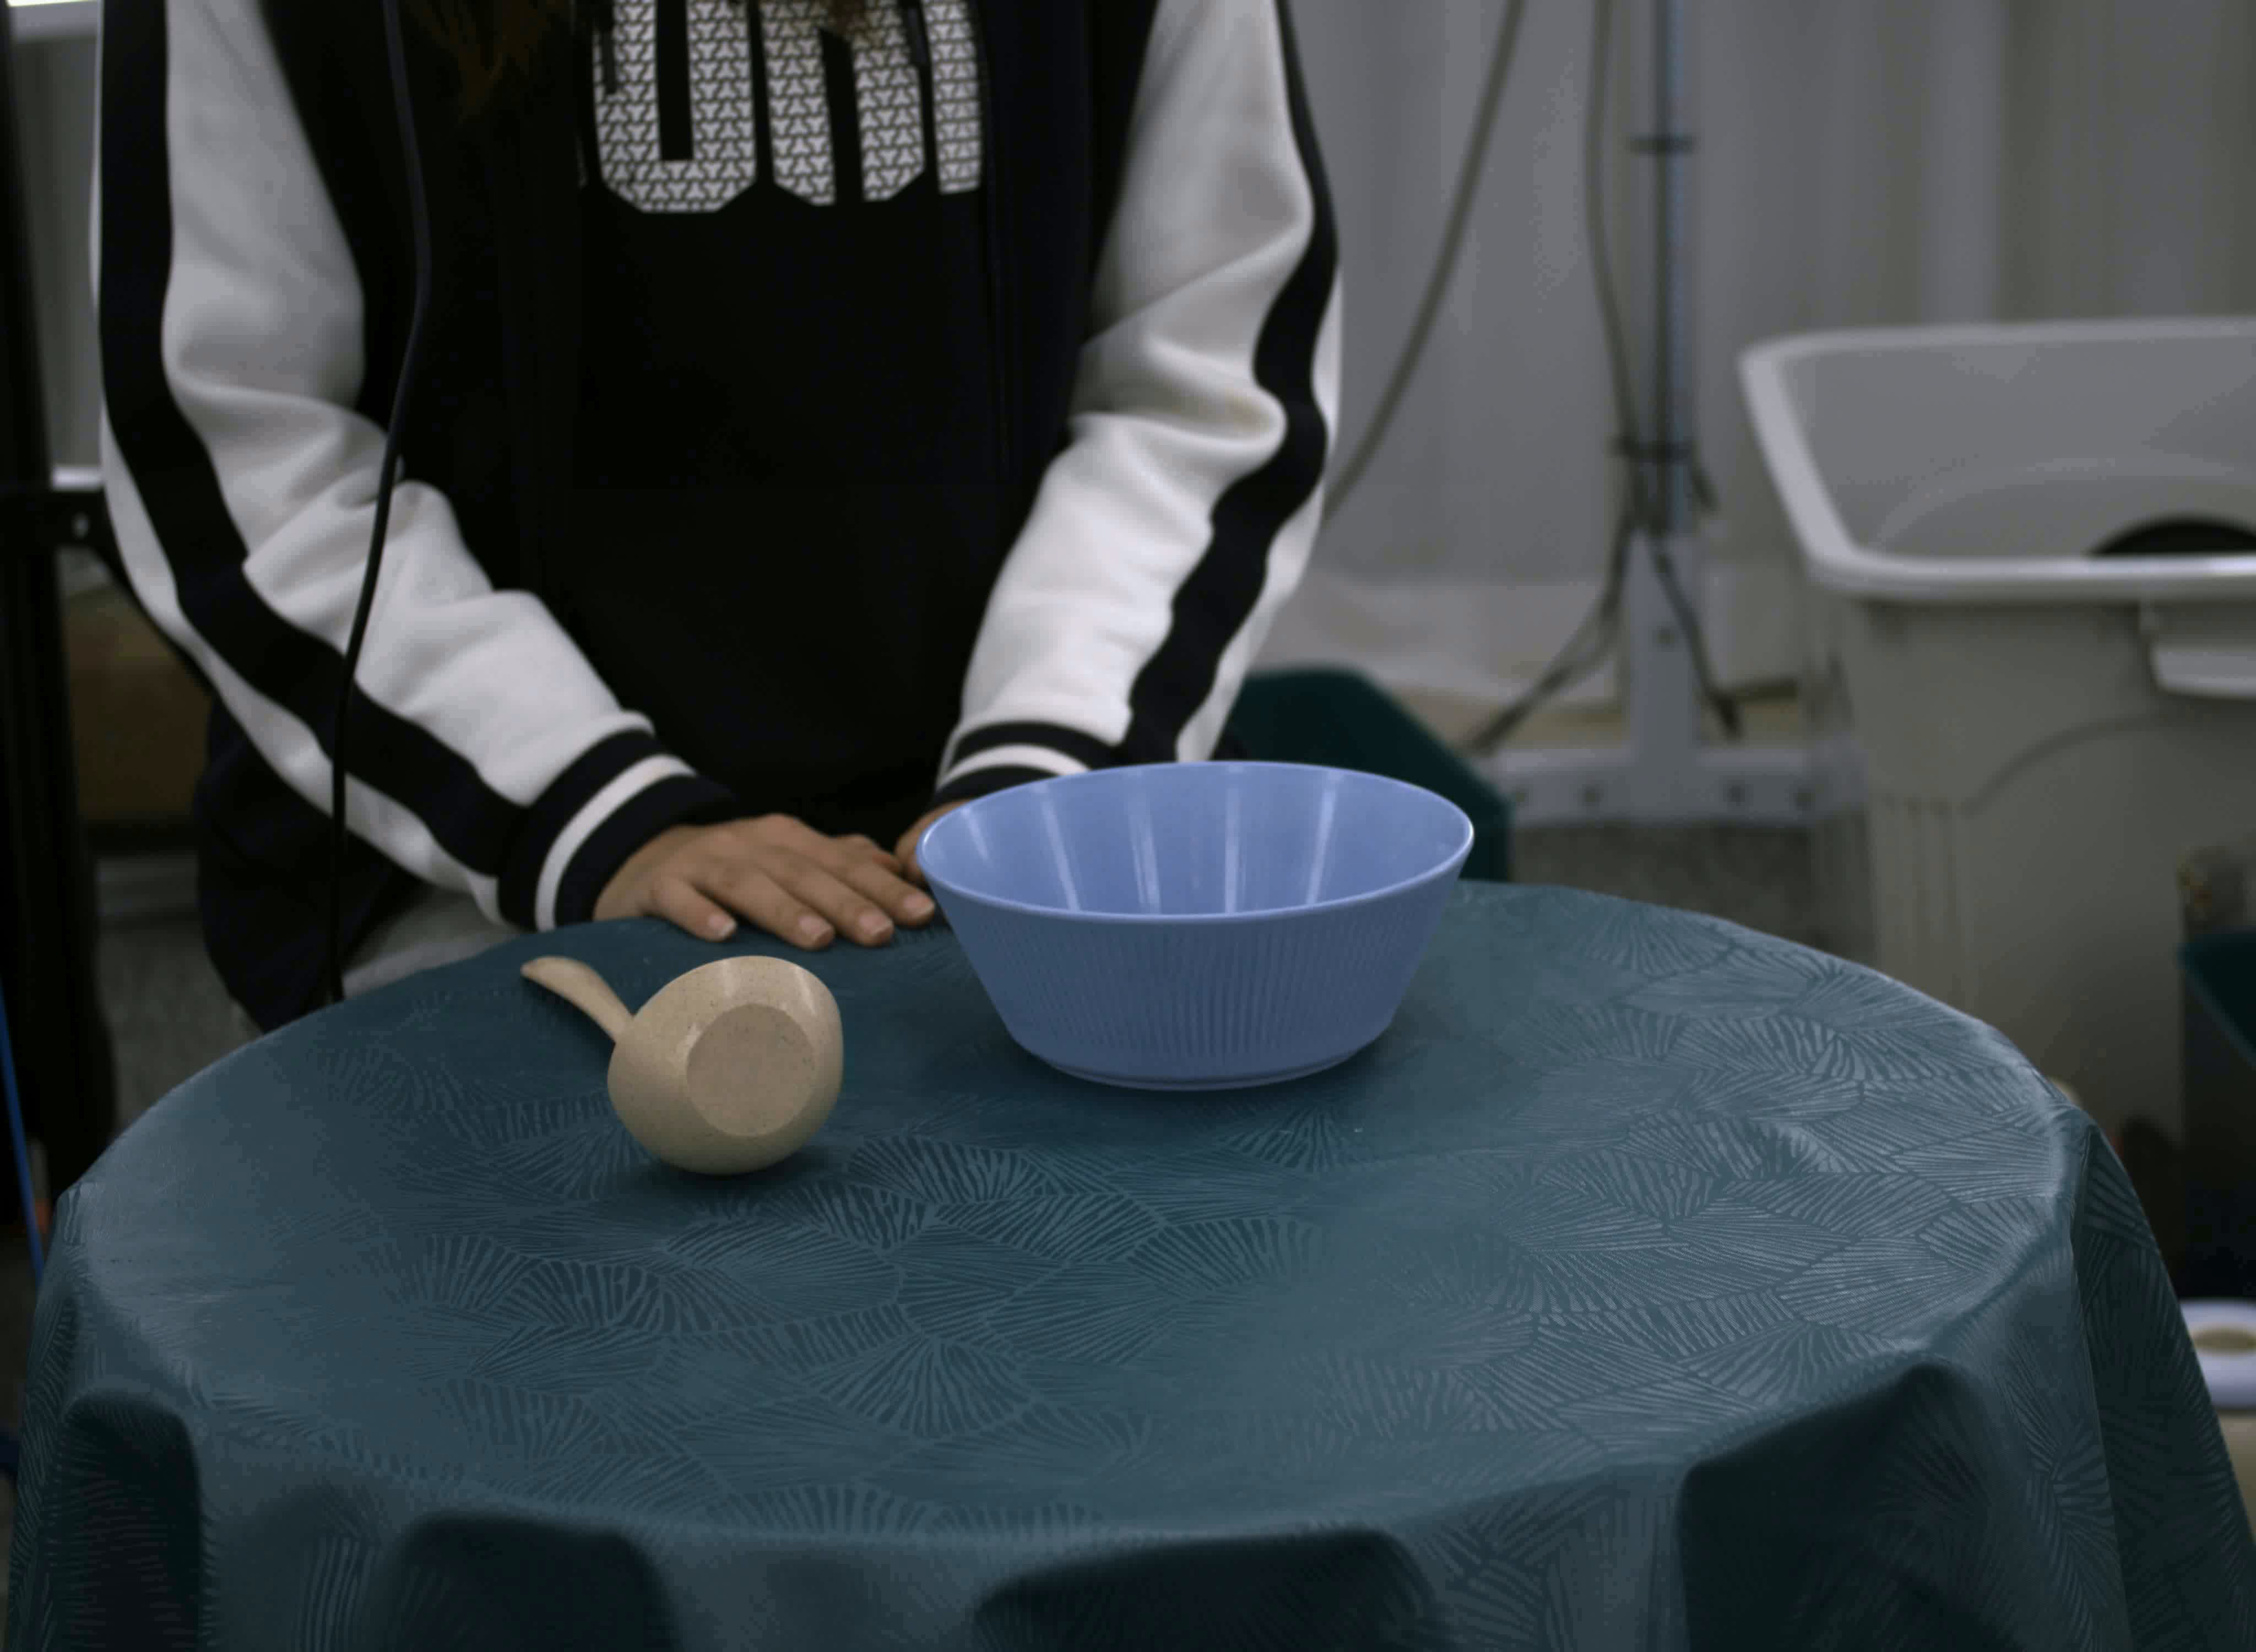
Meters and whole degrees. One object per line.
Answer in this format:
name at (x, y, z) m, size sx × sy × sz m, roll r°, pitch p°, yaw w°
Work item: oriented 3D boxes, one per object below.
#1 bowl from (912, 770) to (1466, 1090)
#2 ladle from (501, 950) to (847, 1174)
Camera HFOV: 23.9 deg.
bowl at (0.020, 0.035, 1.685) m, size 0.175 × 0.070 × 0.177 m, roll -2°, pitch 15°, yaw -1°
ladle at (-0.156, 0.045, 1.672) m, size 0.071 × 0.073 × 0.259 m, roll -8°, pitch 17°, yaw -21°
